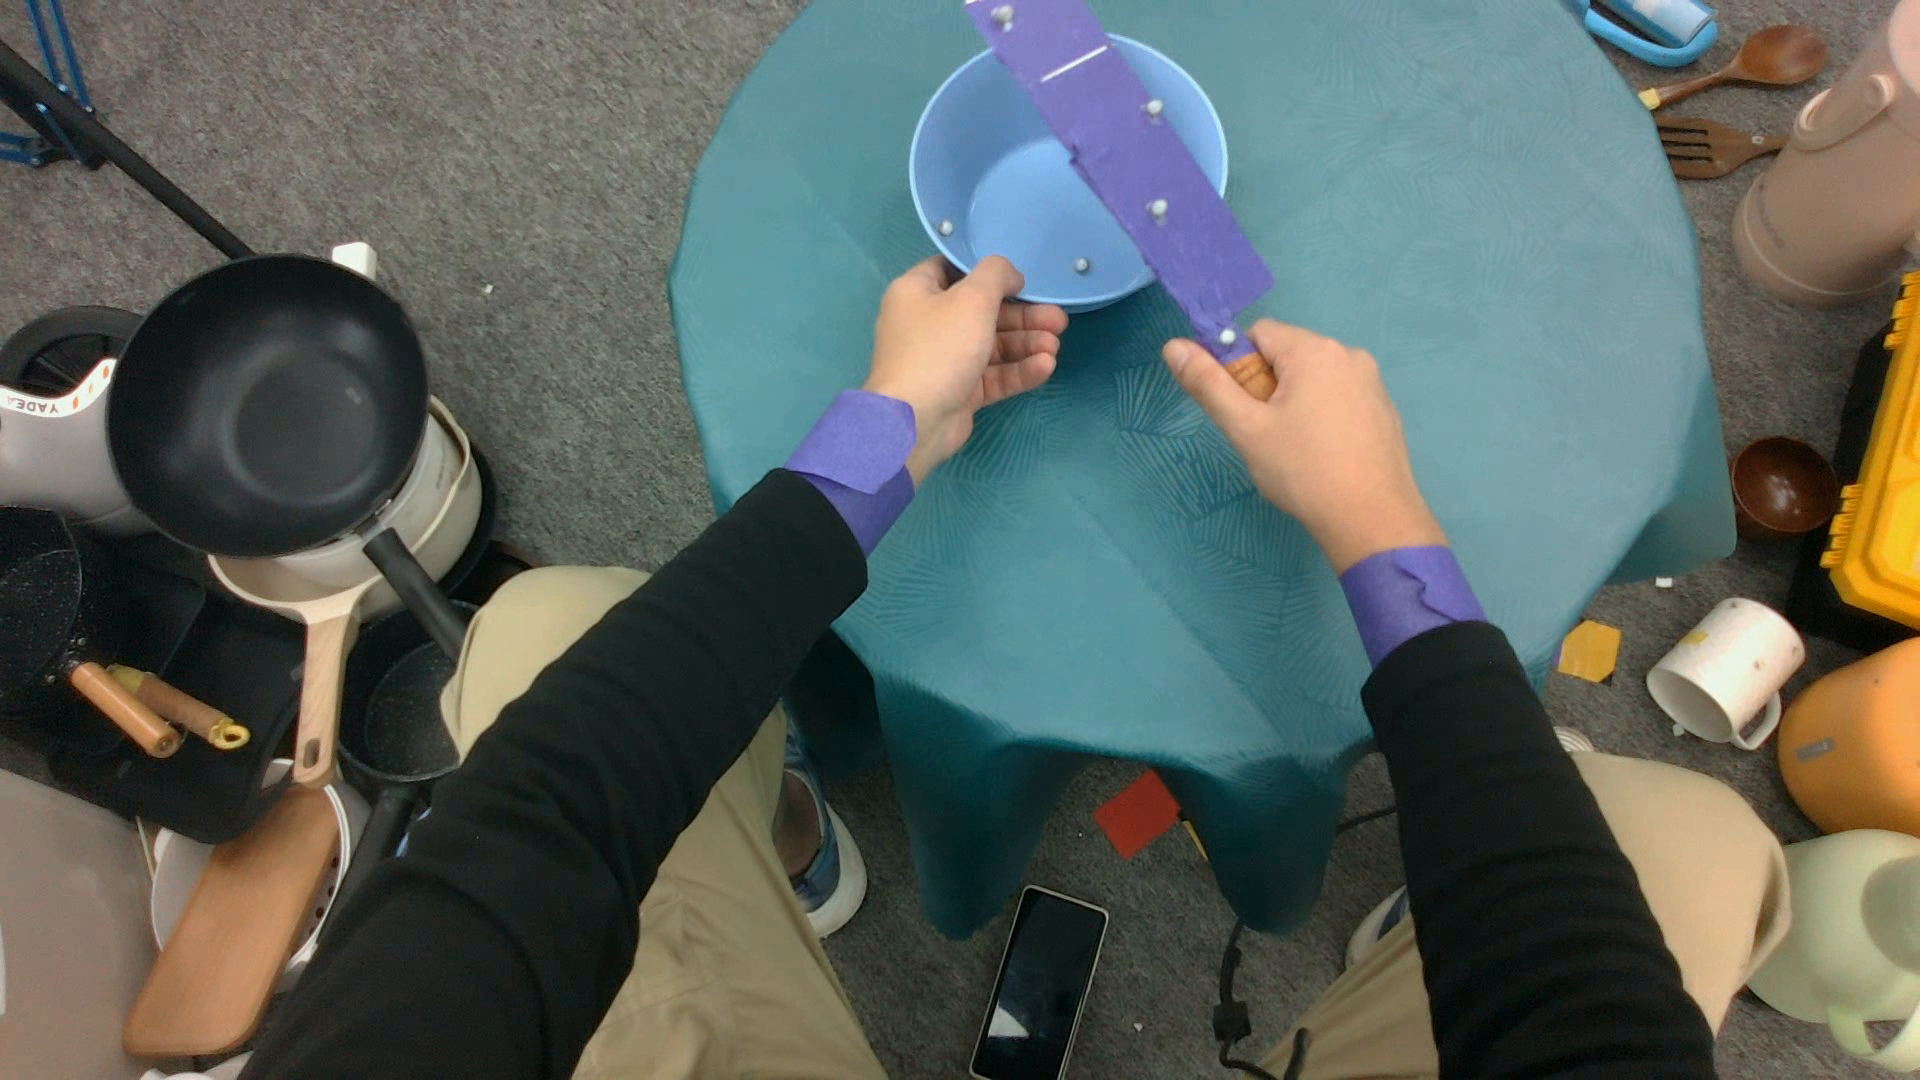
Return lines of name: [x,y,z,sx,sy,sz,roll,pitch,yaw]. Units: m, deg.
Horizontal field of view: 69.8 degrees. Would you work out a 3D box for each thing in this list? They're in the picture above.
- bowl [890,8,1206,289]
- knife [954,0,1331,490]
bowl: [0.051,-0.213,0.794,0.176,0.070,0.176,-1,72,4]
knife: [0.107,-0.175,0.715,0.315,0.032,0.104,55,47,-6]
